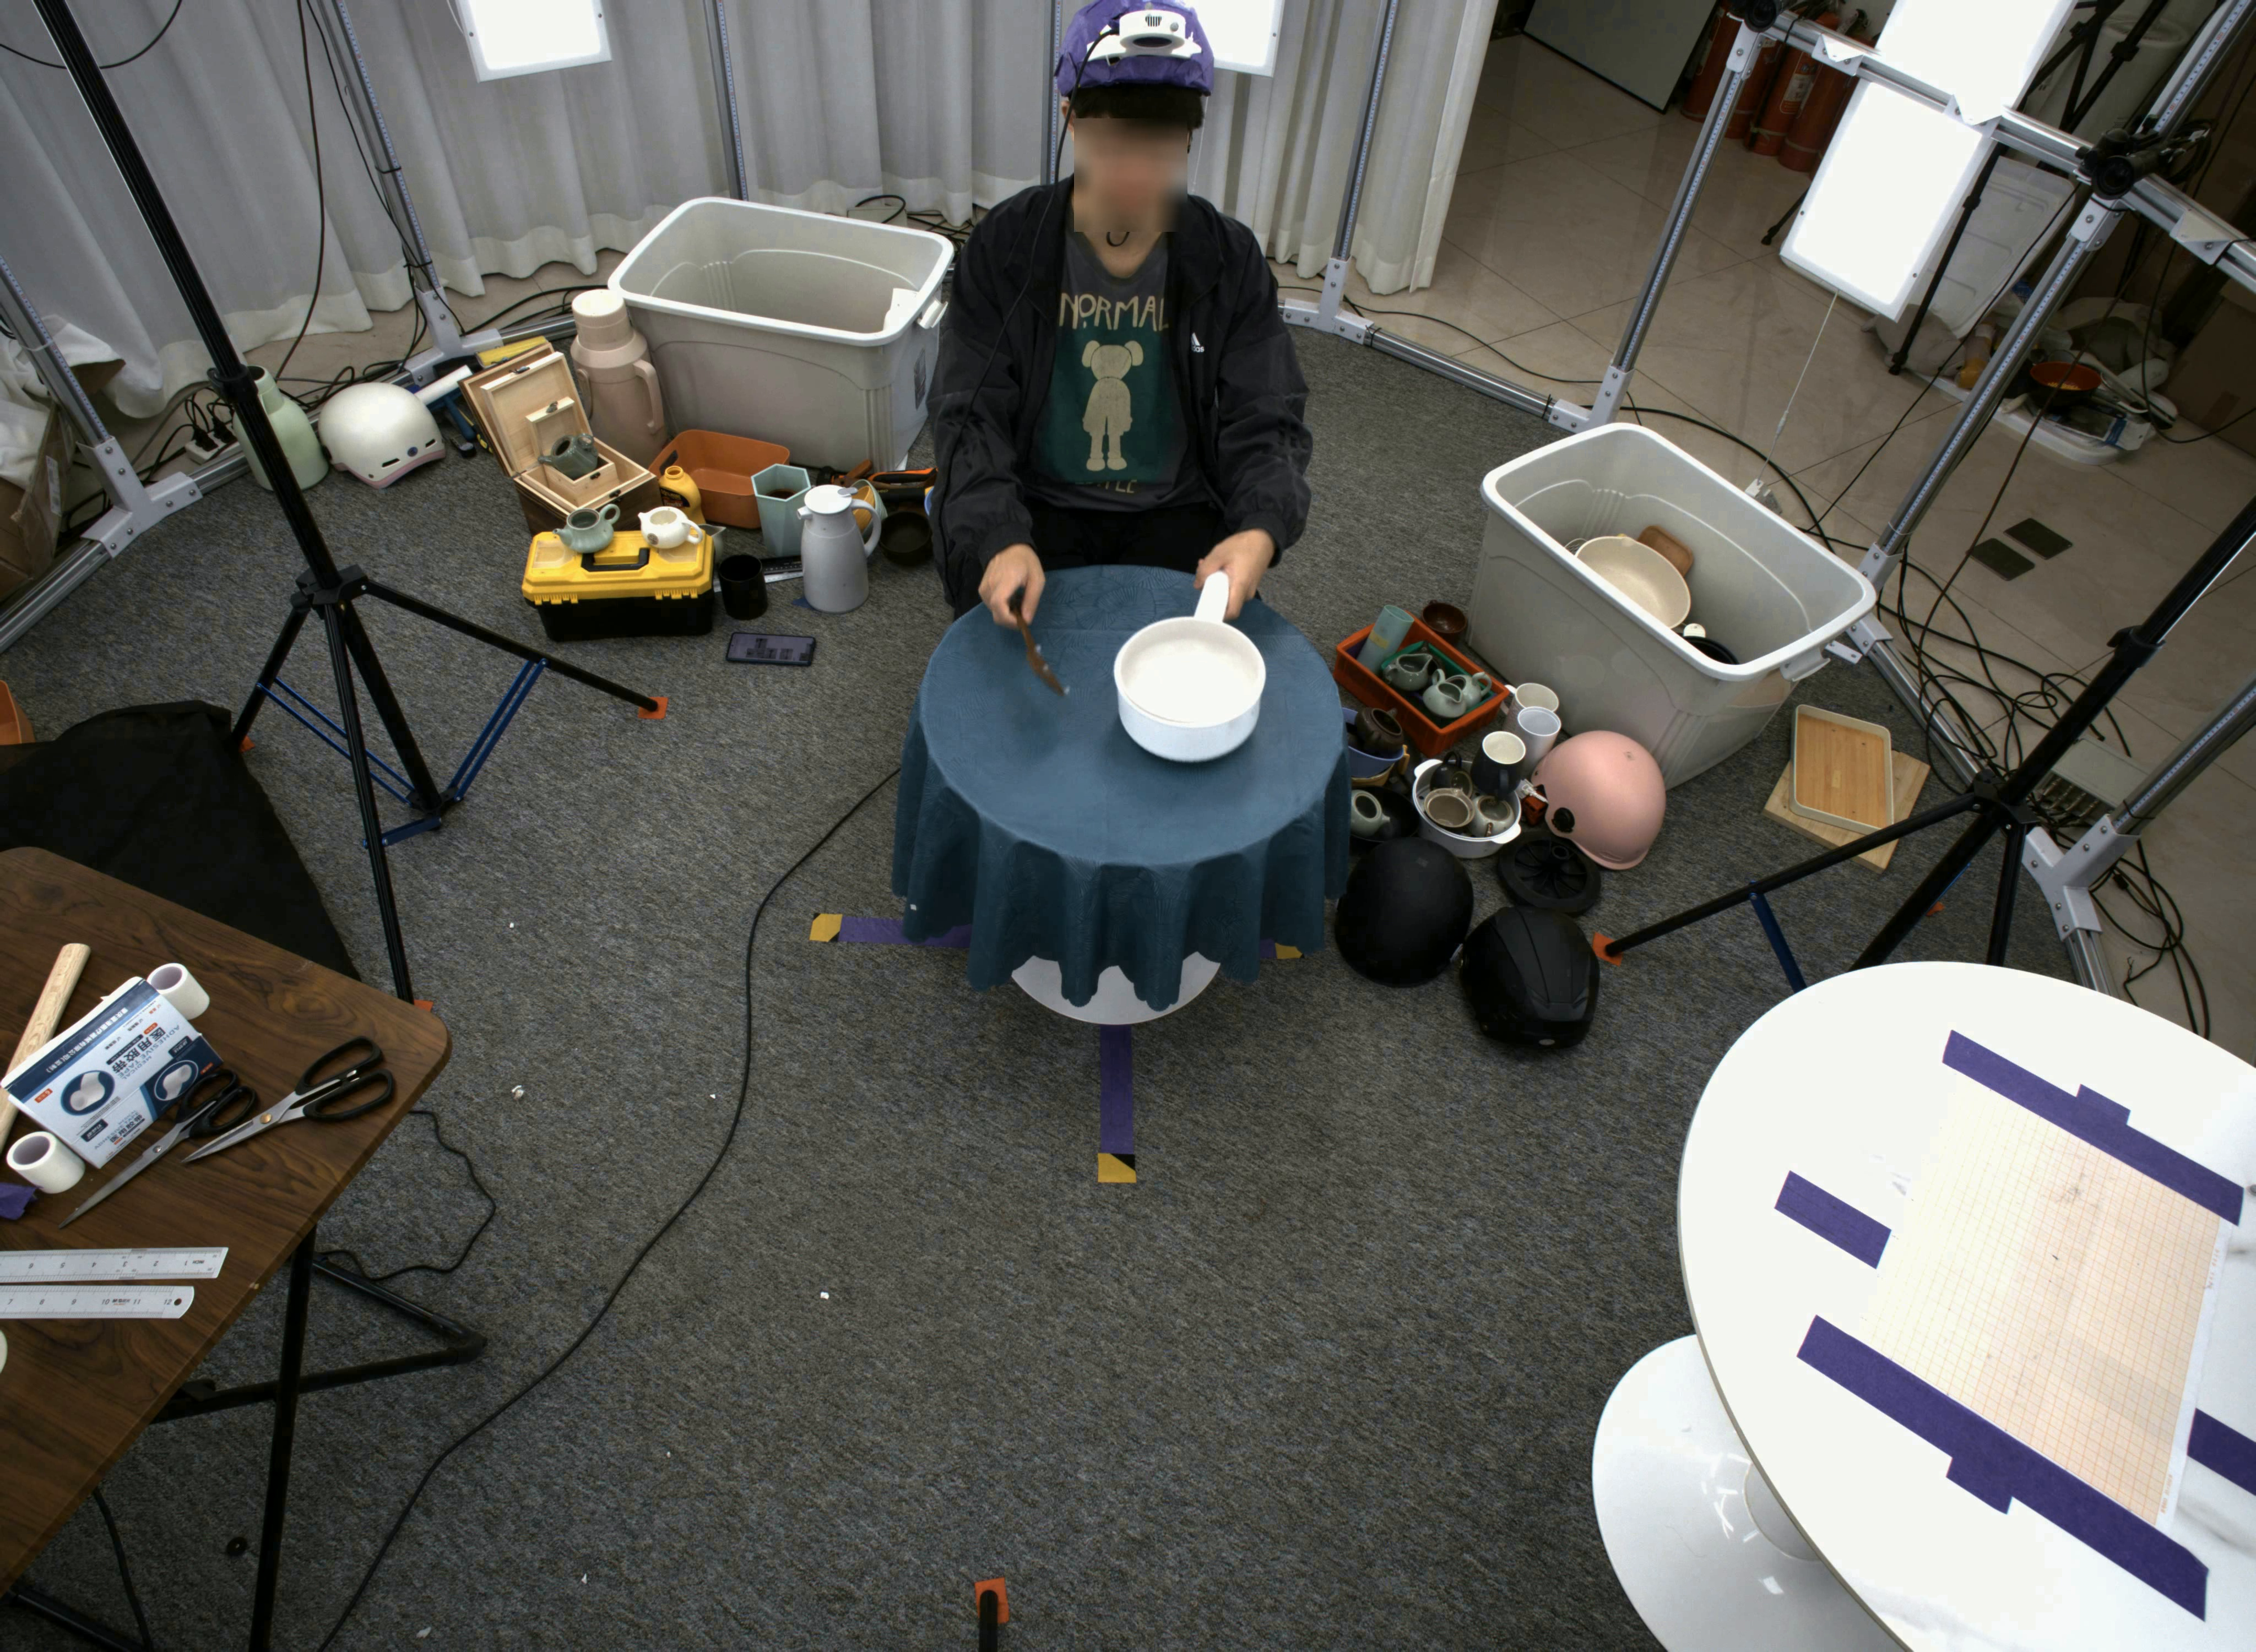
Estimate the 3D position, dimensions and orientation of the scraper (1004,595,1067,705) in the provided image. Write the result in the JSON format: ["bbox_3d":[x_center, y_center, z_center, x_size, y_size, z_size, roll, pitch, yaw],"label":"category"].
[{"bbox_3d":[-0.137,-0.251,1.791,0.011,0.074,0.216,-35,51,13],"label":"scraper"}]

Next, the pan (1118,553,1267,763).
[{"bbox_3d":[0.106,-0.236,1.805,0.202,0.099,0.362,11,50,10],"label":"pan"}]
